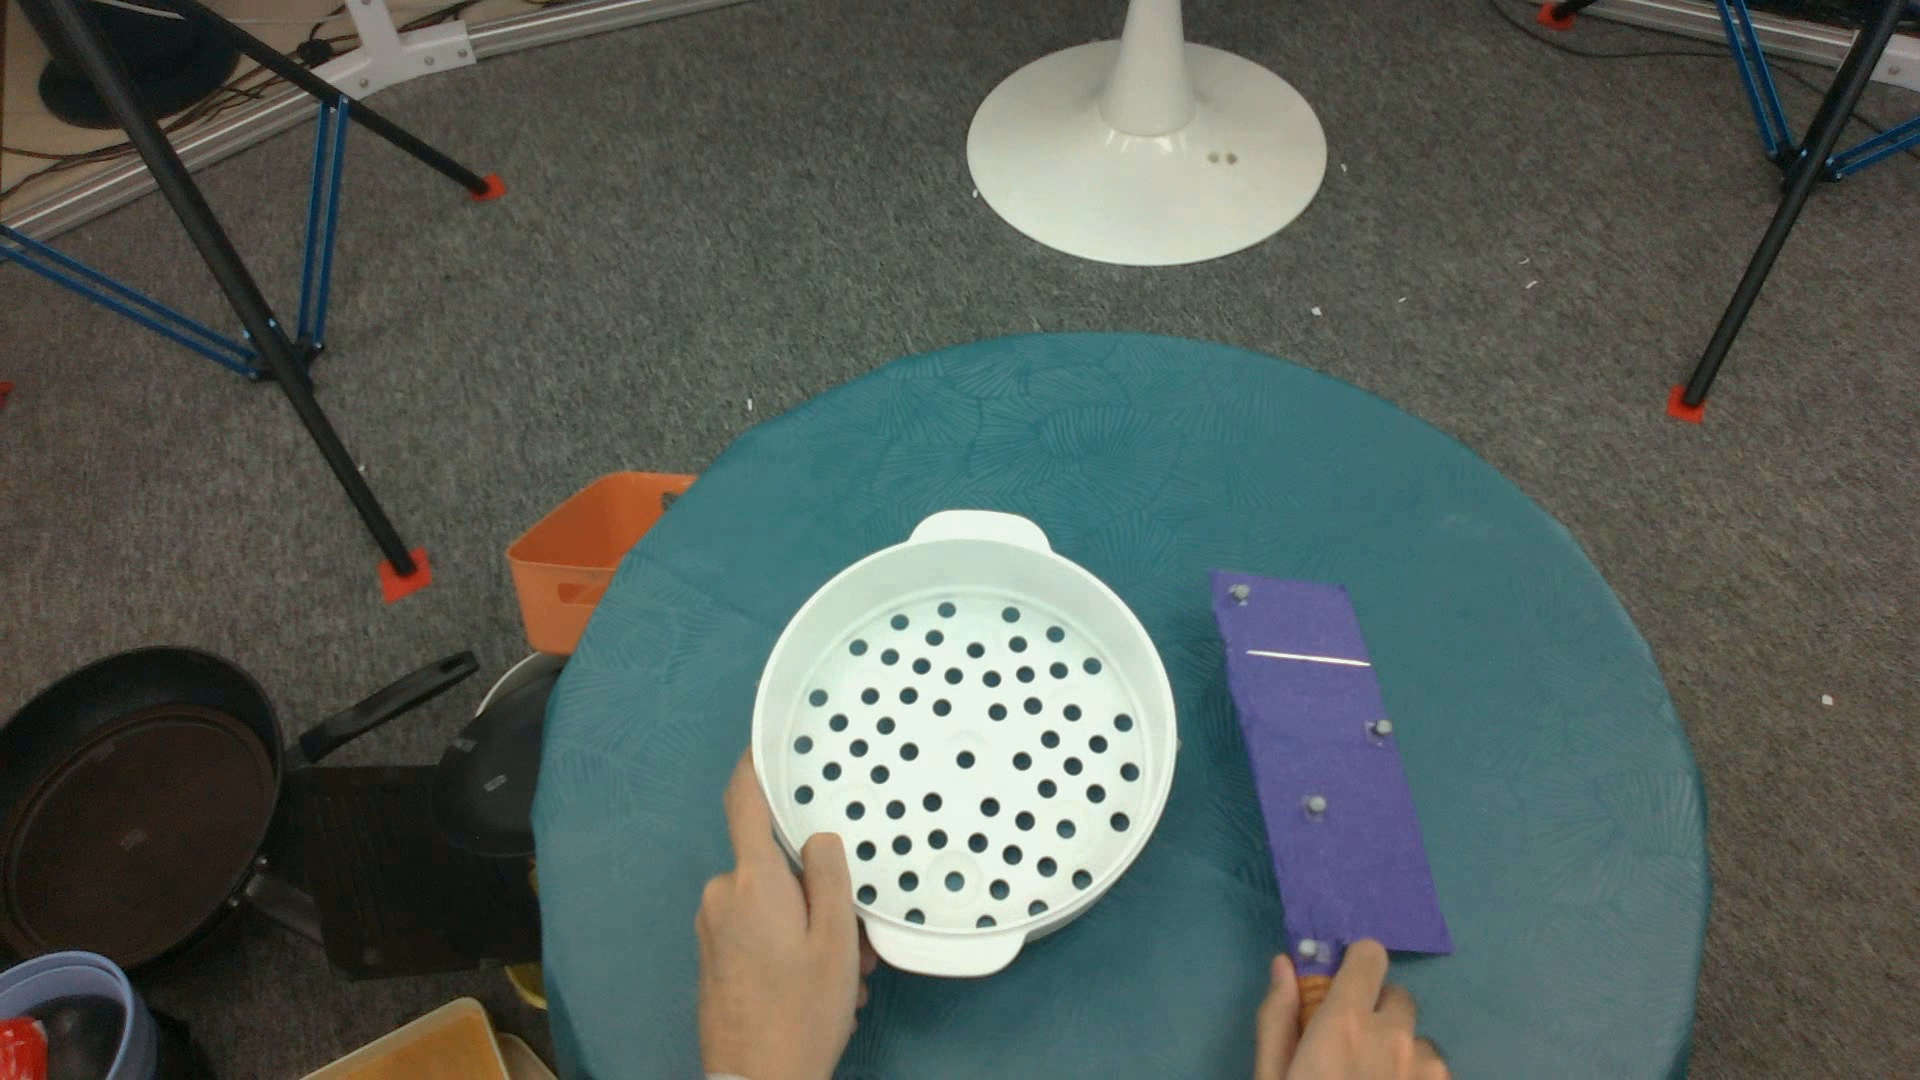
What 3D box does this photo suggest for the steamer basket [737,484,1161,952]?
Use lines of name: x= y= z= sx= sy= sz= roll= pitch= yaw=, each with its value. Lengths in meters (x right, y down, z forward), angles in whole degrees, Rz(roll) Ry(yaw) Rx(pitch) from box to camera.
steamer basket: x=-0.005 y=0.088 z=0.680 sx=0.202 sy=0.069 sz=0.231 roll=4 pitch=66 yaw=3

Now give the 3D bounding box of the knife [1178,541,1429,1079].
knife: x=0.178 y=0.135 z=0.666 sx=0.104 sy=0.032 sz=0.316 roll=8 pitch=55 yaw=-19
